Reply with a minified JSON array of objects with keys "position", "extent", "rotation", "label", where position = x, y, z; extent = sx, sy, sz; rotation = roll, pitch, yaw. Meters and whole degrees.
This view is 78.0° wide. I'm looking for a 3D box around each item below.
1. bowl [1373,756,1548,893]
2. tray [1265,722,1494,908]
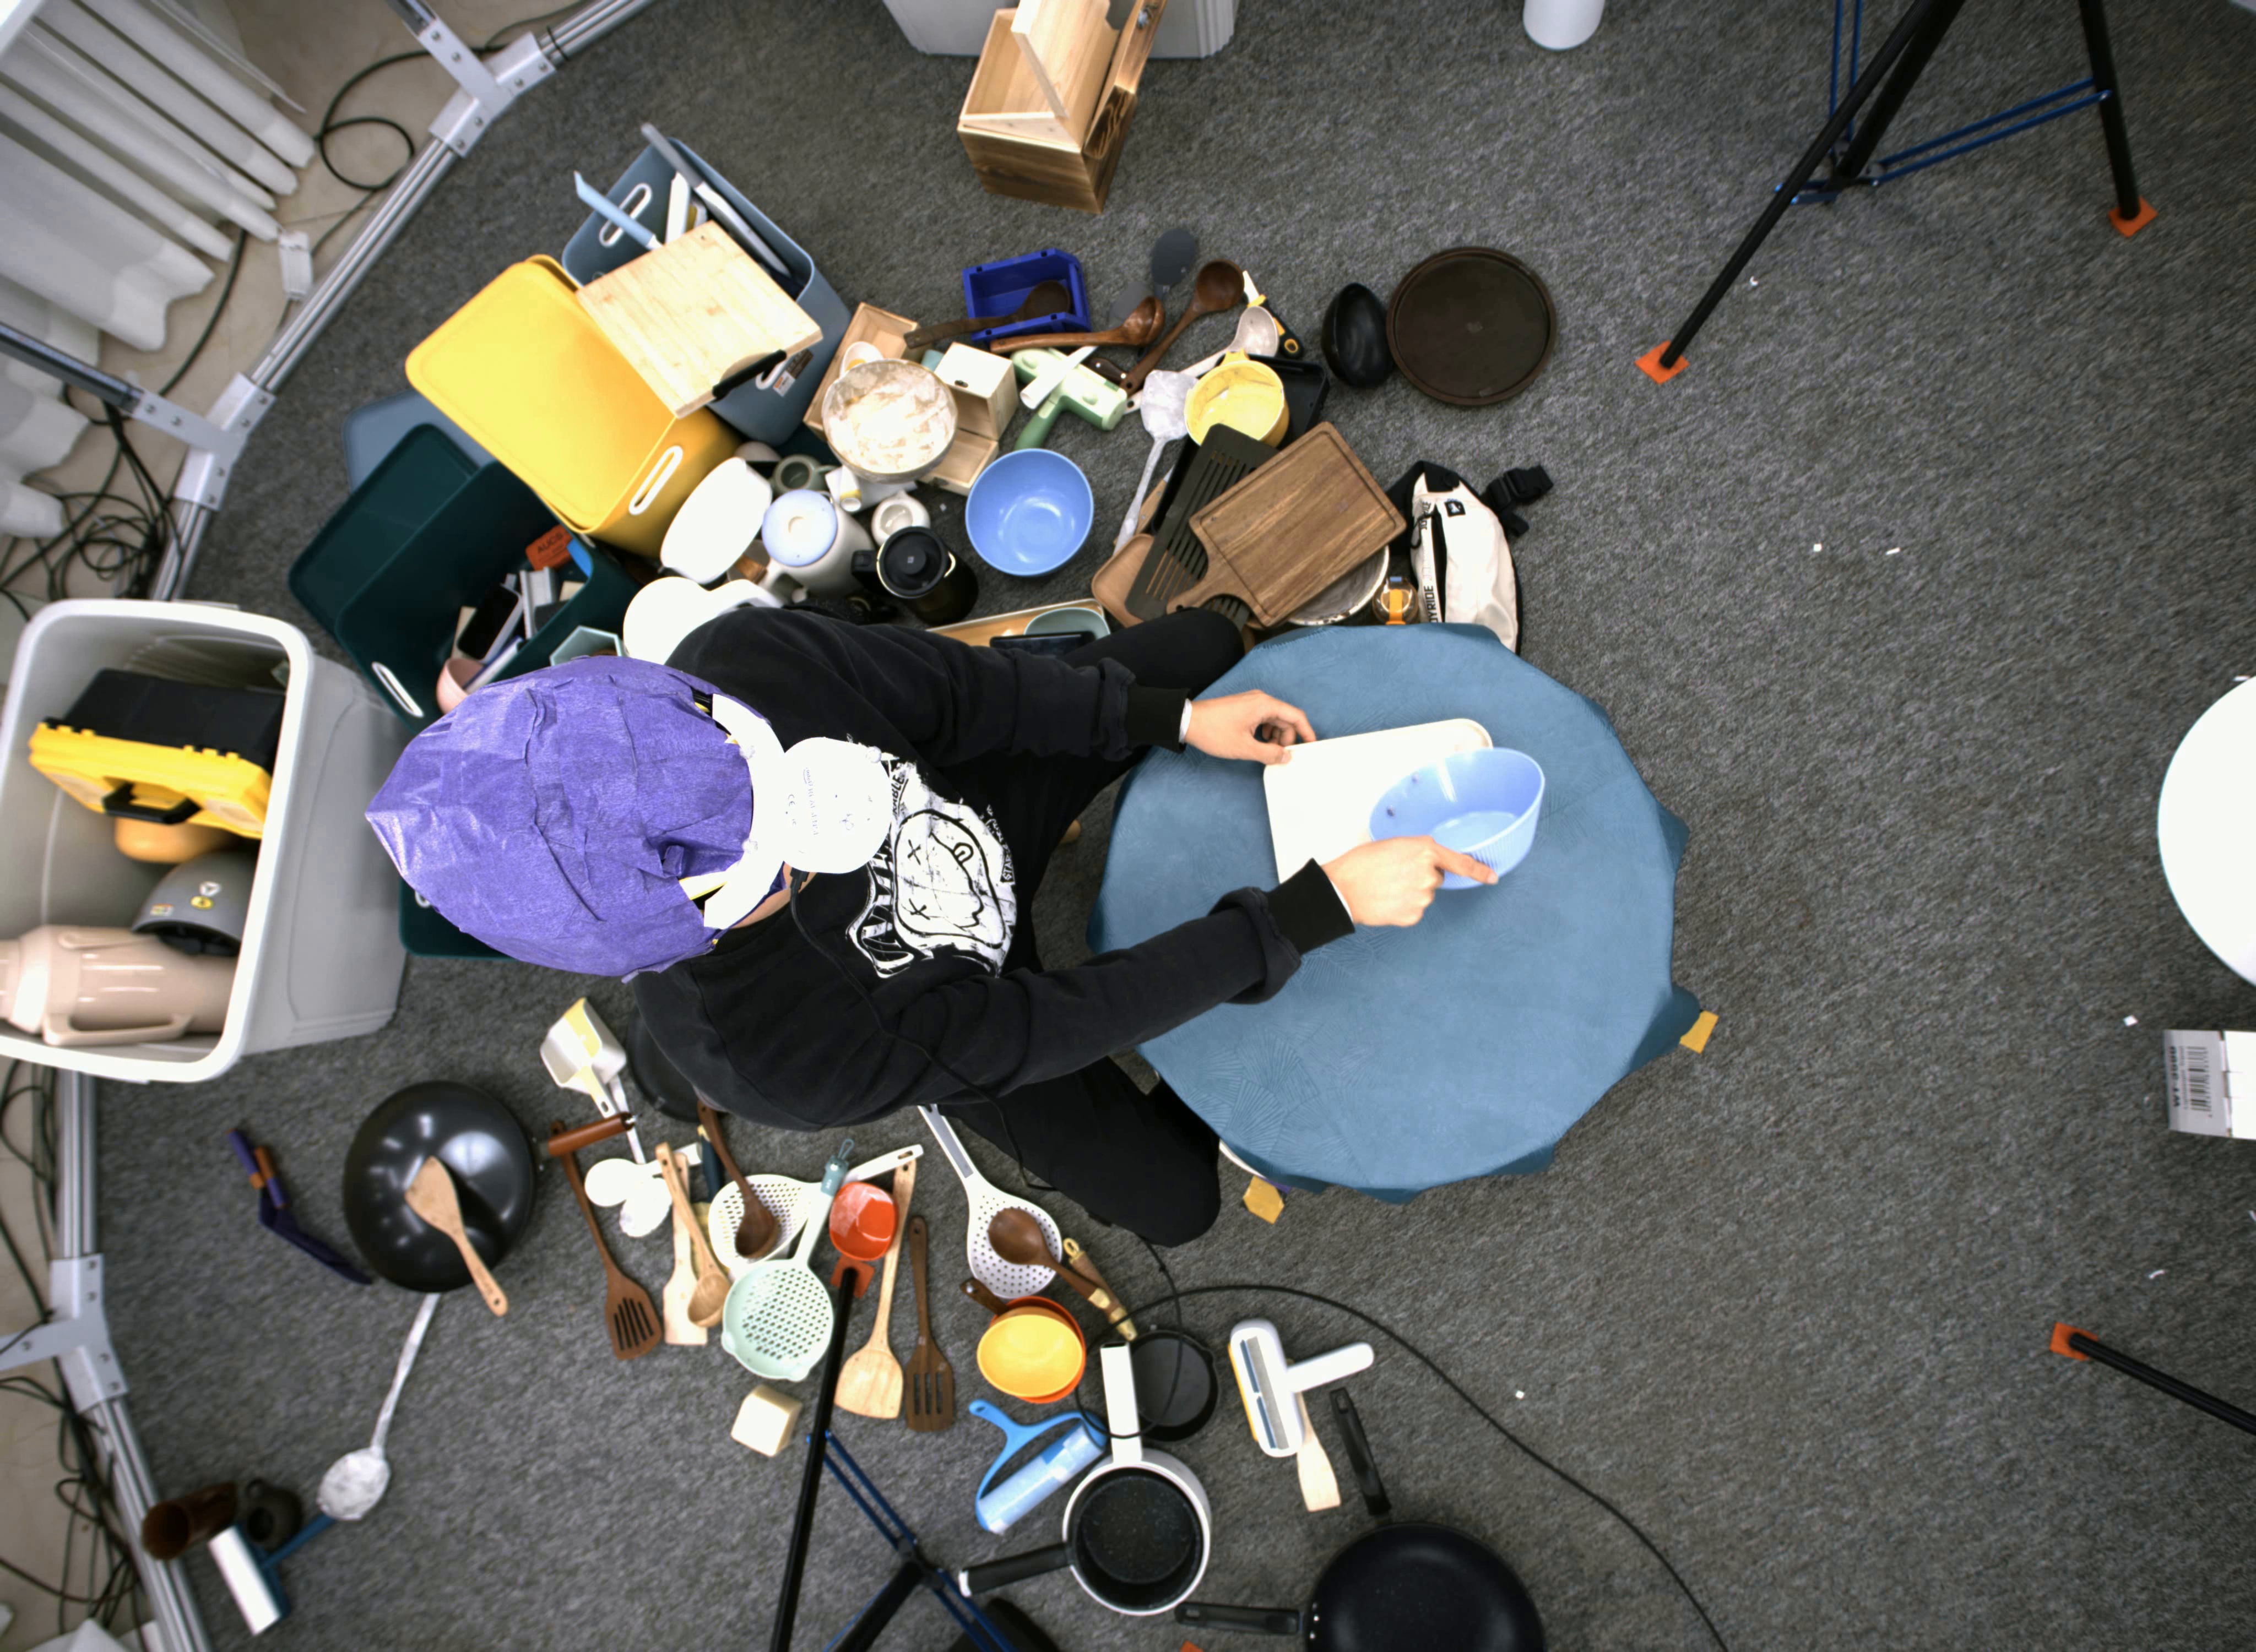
[{"position":[0.335,0.005,1.354],"extent":[0.177,0.172,0.071],"rotation":[-24,117,7],"label":"bowl"},{"position":[0.271,-0.012,1.449],"extent":[0.241,0.017,0.171],"rotation":[-9,93,8],"label":"tray"}]
